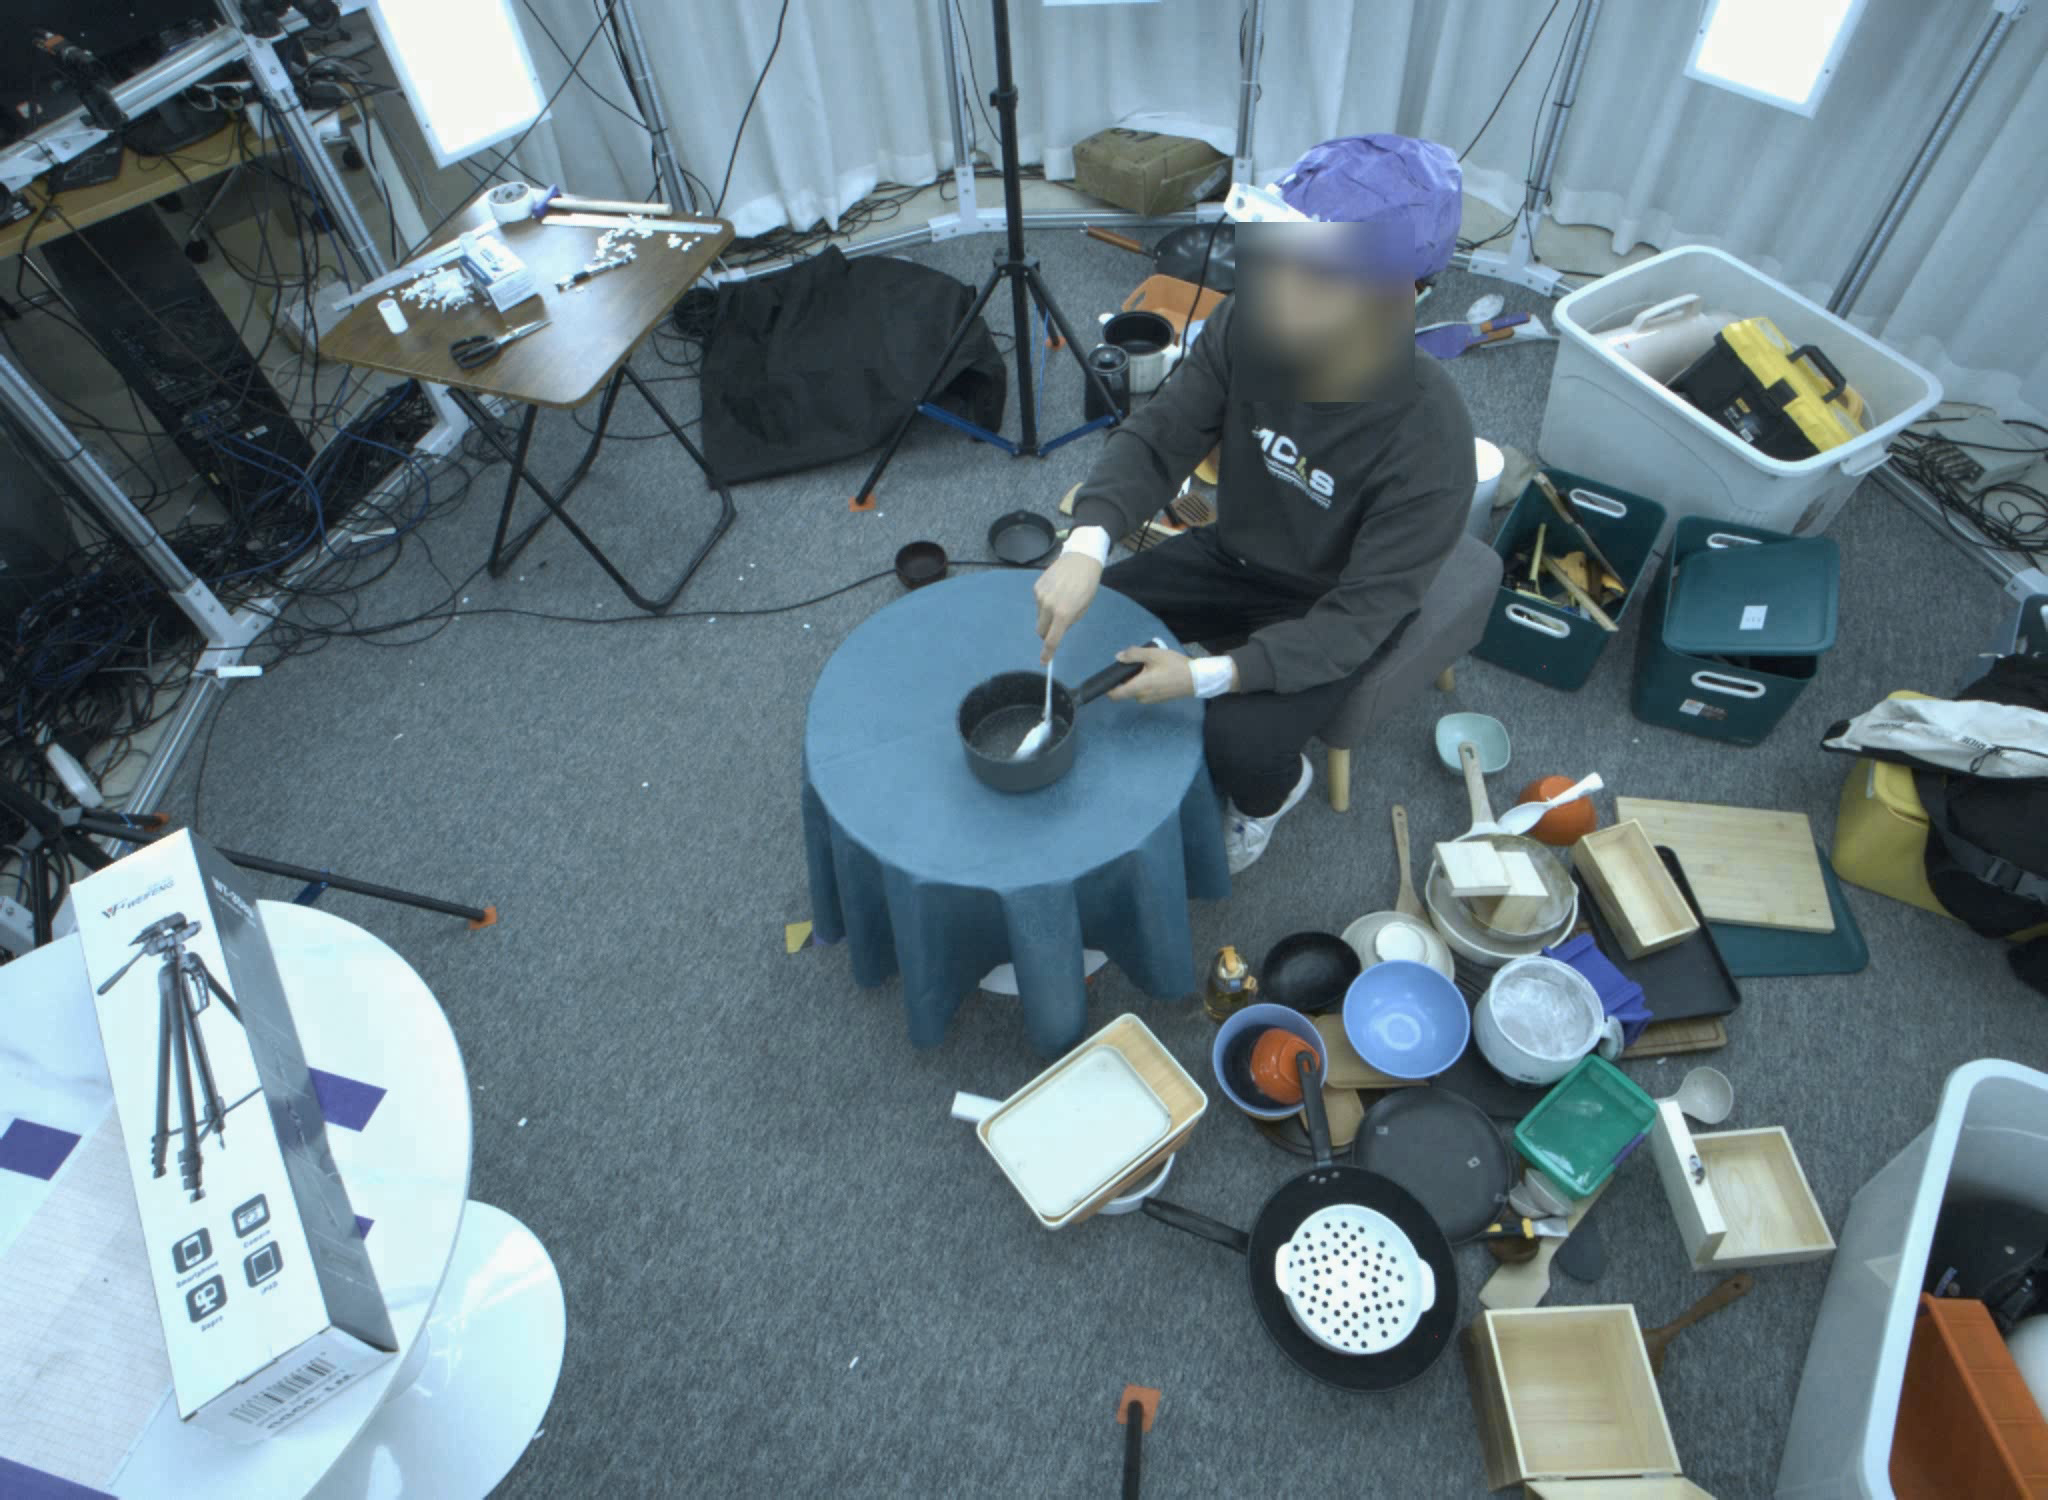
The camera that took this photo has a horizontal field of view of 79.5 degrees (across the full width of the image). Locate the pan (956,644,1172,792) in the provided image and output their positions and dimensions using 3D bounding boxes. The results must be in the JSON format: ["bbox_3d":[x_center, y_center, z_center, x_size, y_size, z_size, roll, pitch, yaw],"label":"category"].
[{"bbox_3d":[0.063,-0.058,1.770,0.331,0.087,0.169,-24,55,-13],"label":"pan"}]

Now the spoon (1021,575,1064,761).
[{"bbox_3d":[0.020,-0.108,1.717,0.059,0.100,0.277,2,90,1],"label":"spoon"}]
